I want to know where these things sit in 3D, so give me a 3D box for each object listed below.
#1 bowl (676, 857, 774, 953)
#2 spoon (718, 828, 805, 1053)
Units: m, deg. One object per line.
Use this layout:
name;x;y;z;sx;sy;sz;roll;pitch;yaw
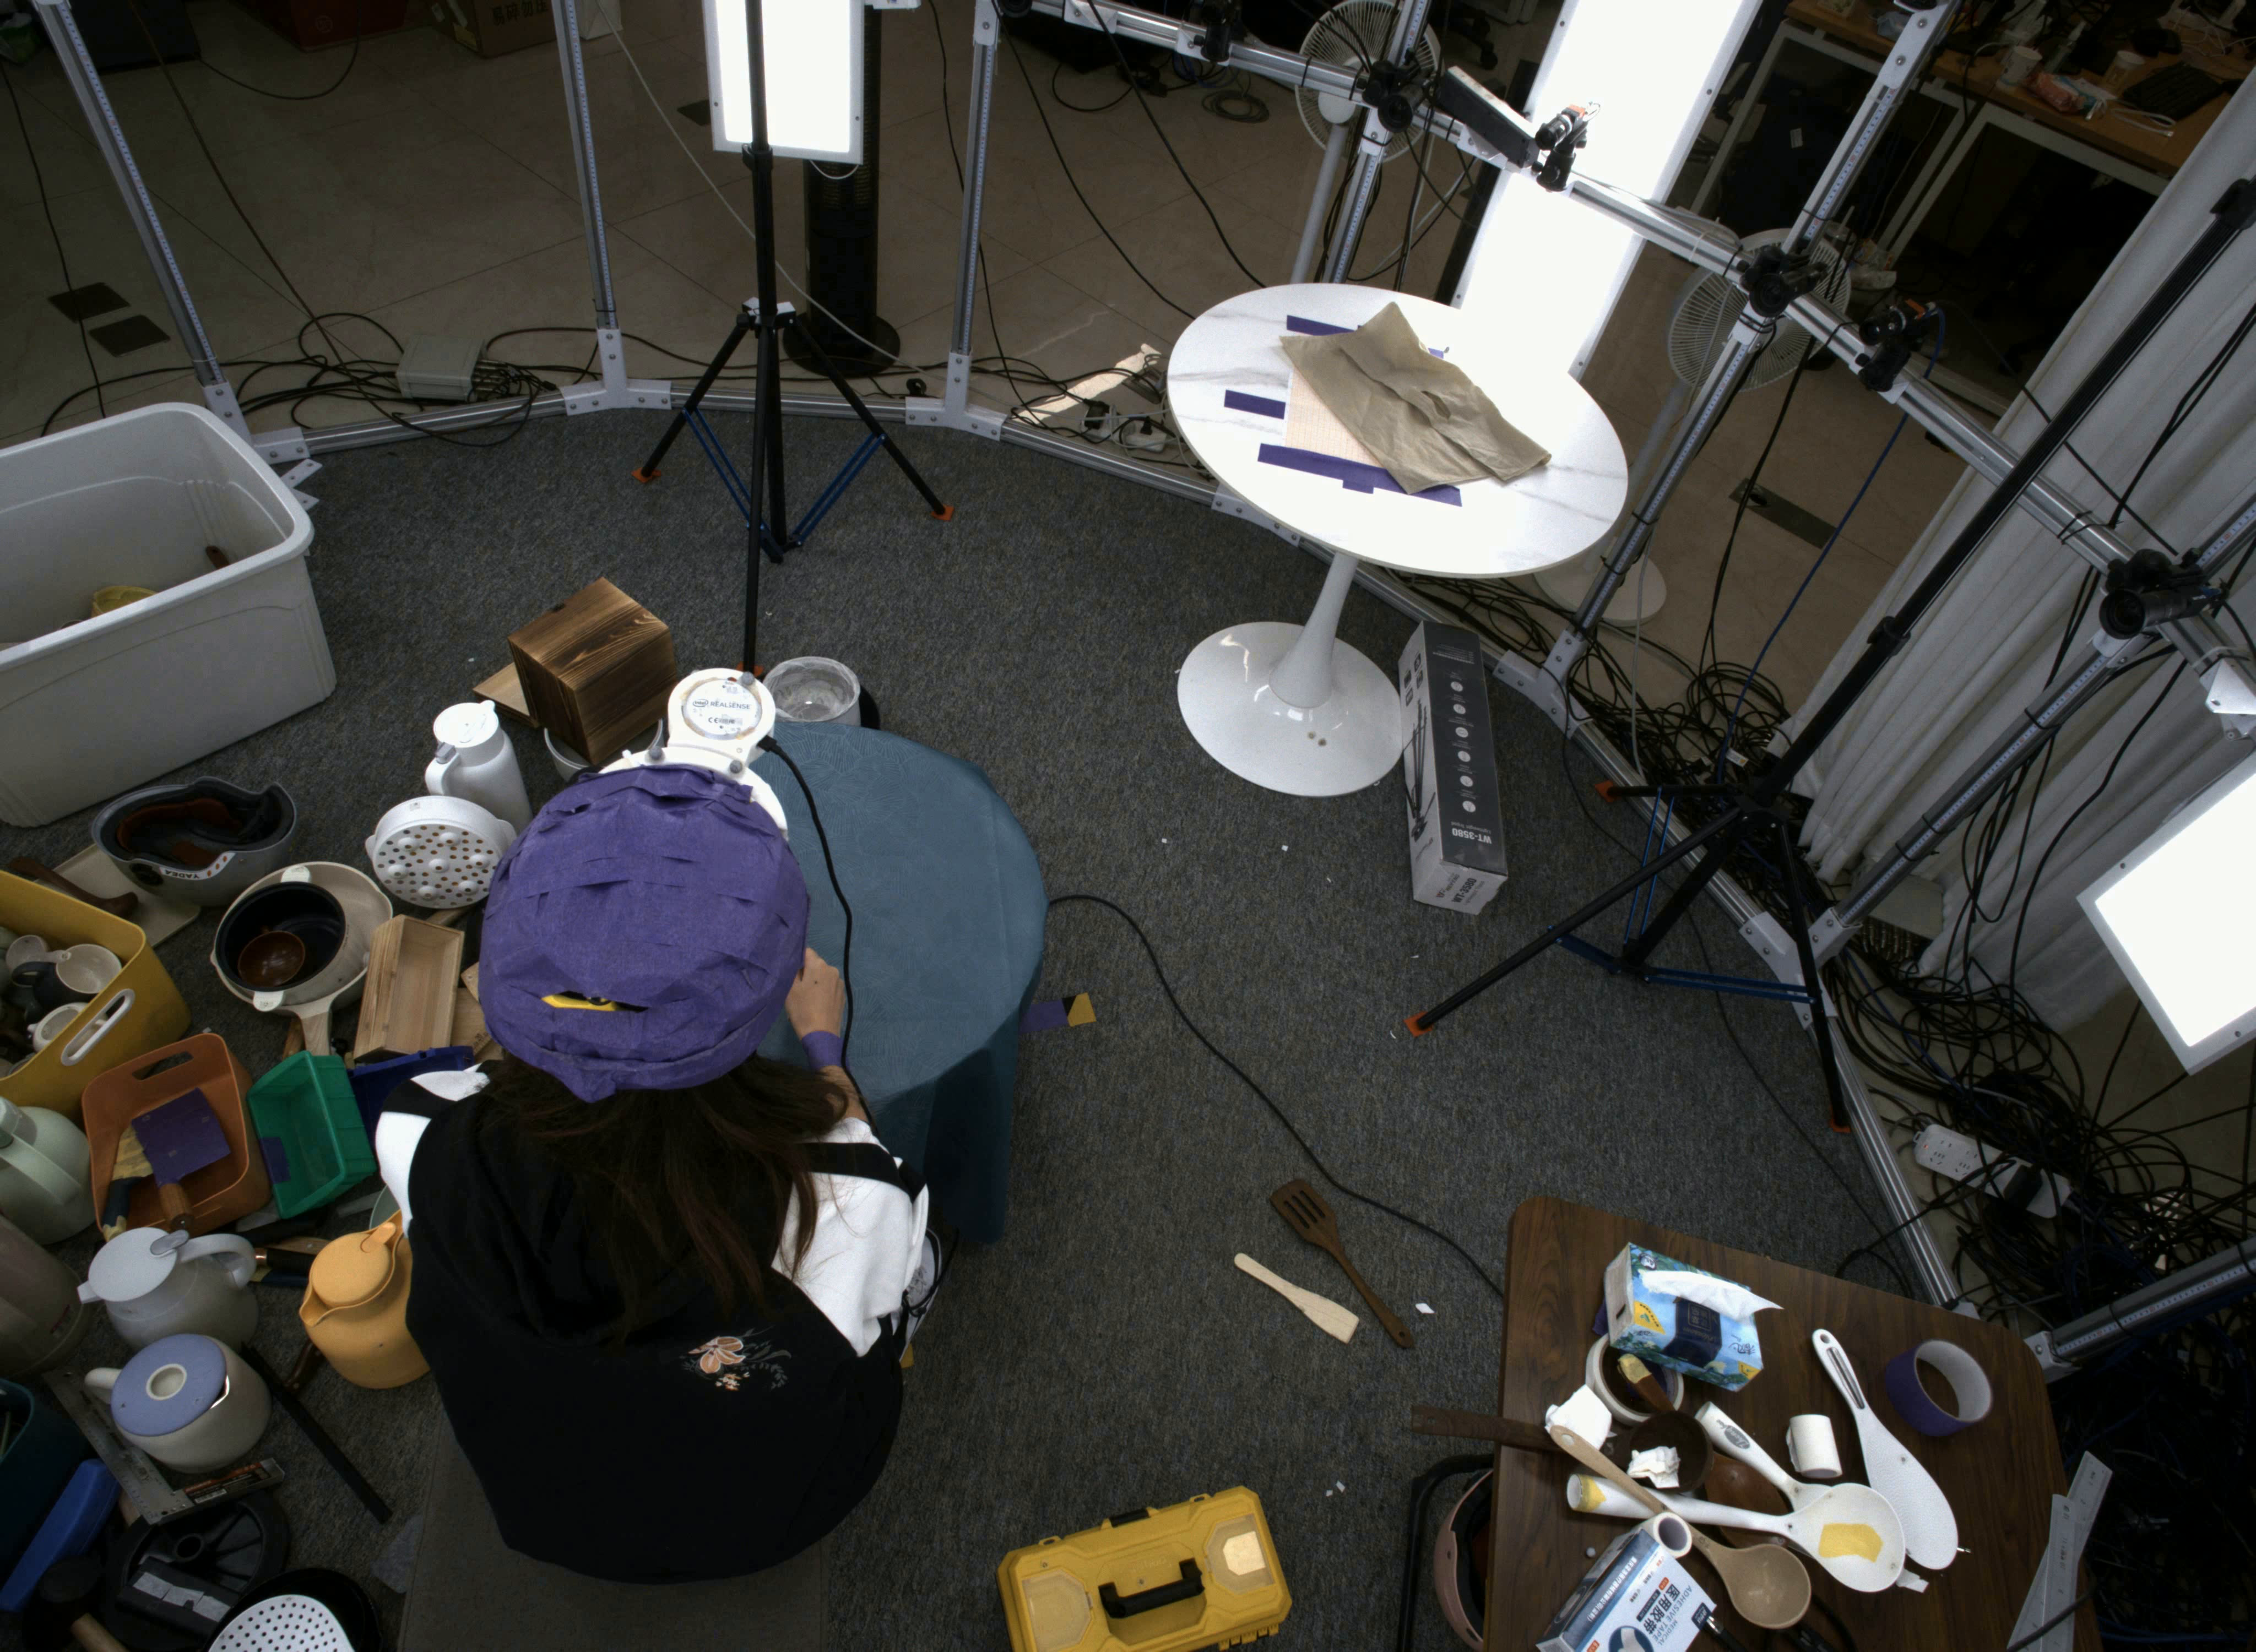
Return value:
bowl;-0.490;0.102;1.578;0.118;0.071;0.116;8;52;-8
spoon;-0.428;0.132;1.512;0.061;0.099;0.272;23;43;-54
